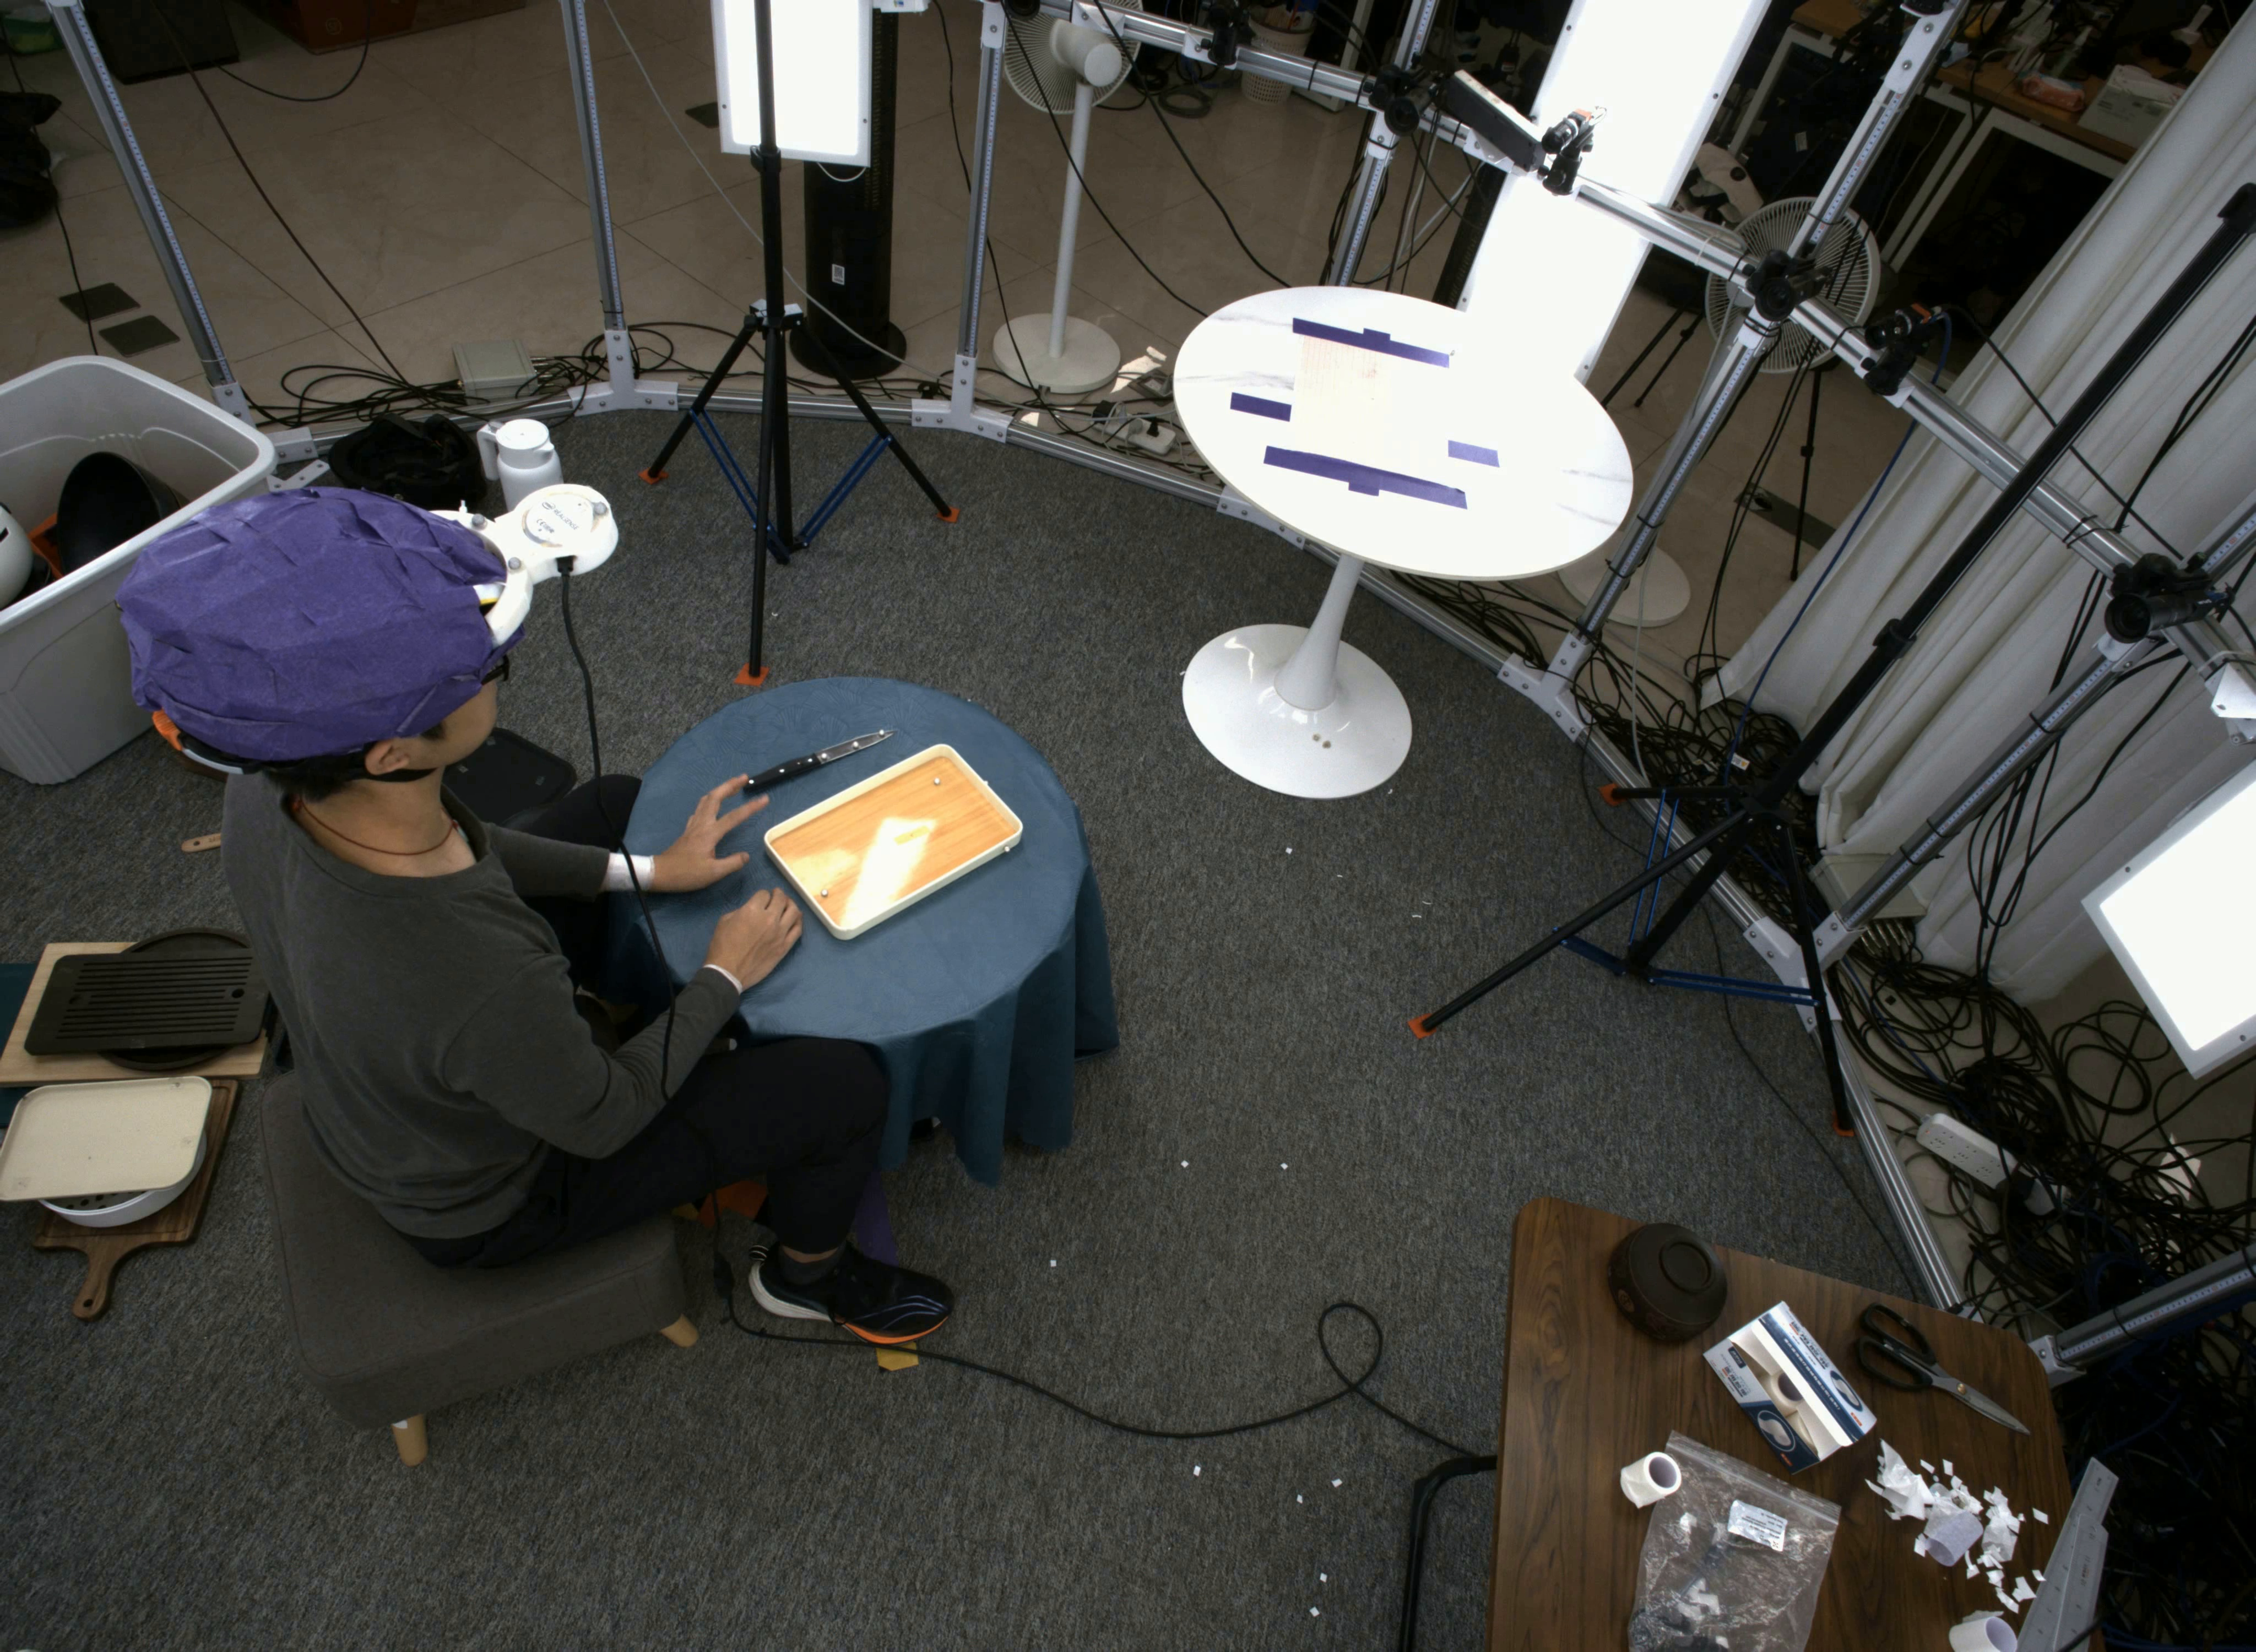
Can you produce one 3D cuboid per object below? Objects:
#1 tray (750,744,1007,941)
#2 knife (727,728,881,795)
[{"bbox_3d":[-0.329,0.015,1.732,0.301,0.028,0.187,-32,66,-31],"label":"tray"},{"bbox_3d":[-0.443,-0.093,1.792,0.239,0.016,0.024,-27,67,-32],"label":"knife"}]
